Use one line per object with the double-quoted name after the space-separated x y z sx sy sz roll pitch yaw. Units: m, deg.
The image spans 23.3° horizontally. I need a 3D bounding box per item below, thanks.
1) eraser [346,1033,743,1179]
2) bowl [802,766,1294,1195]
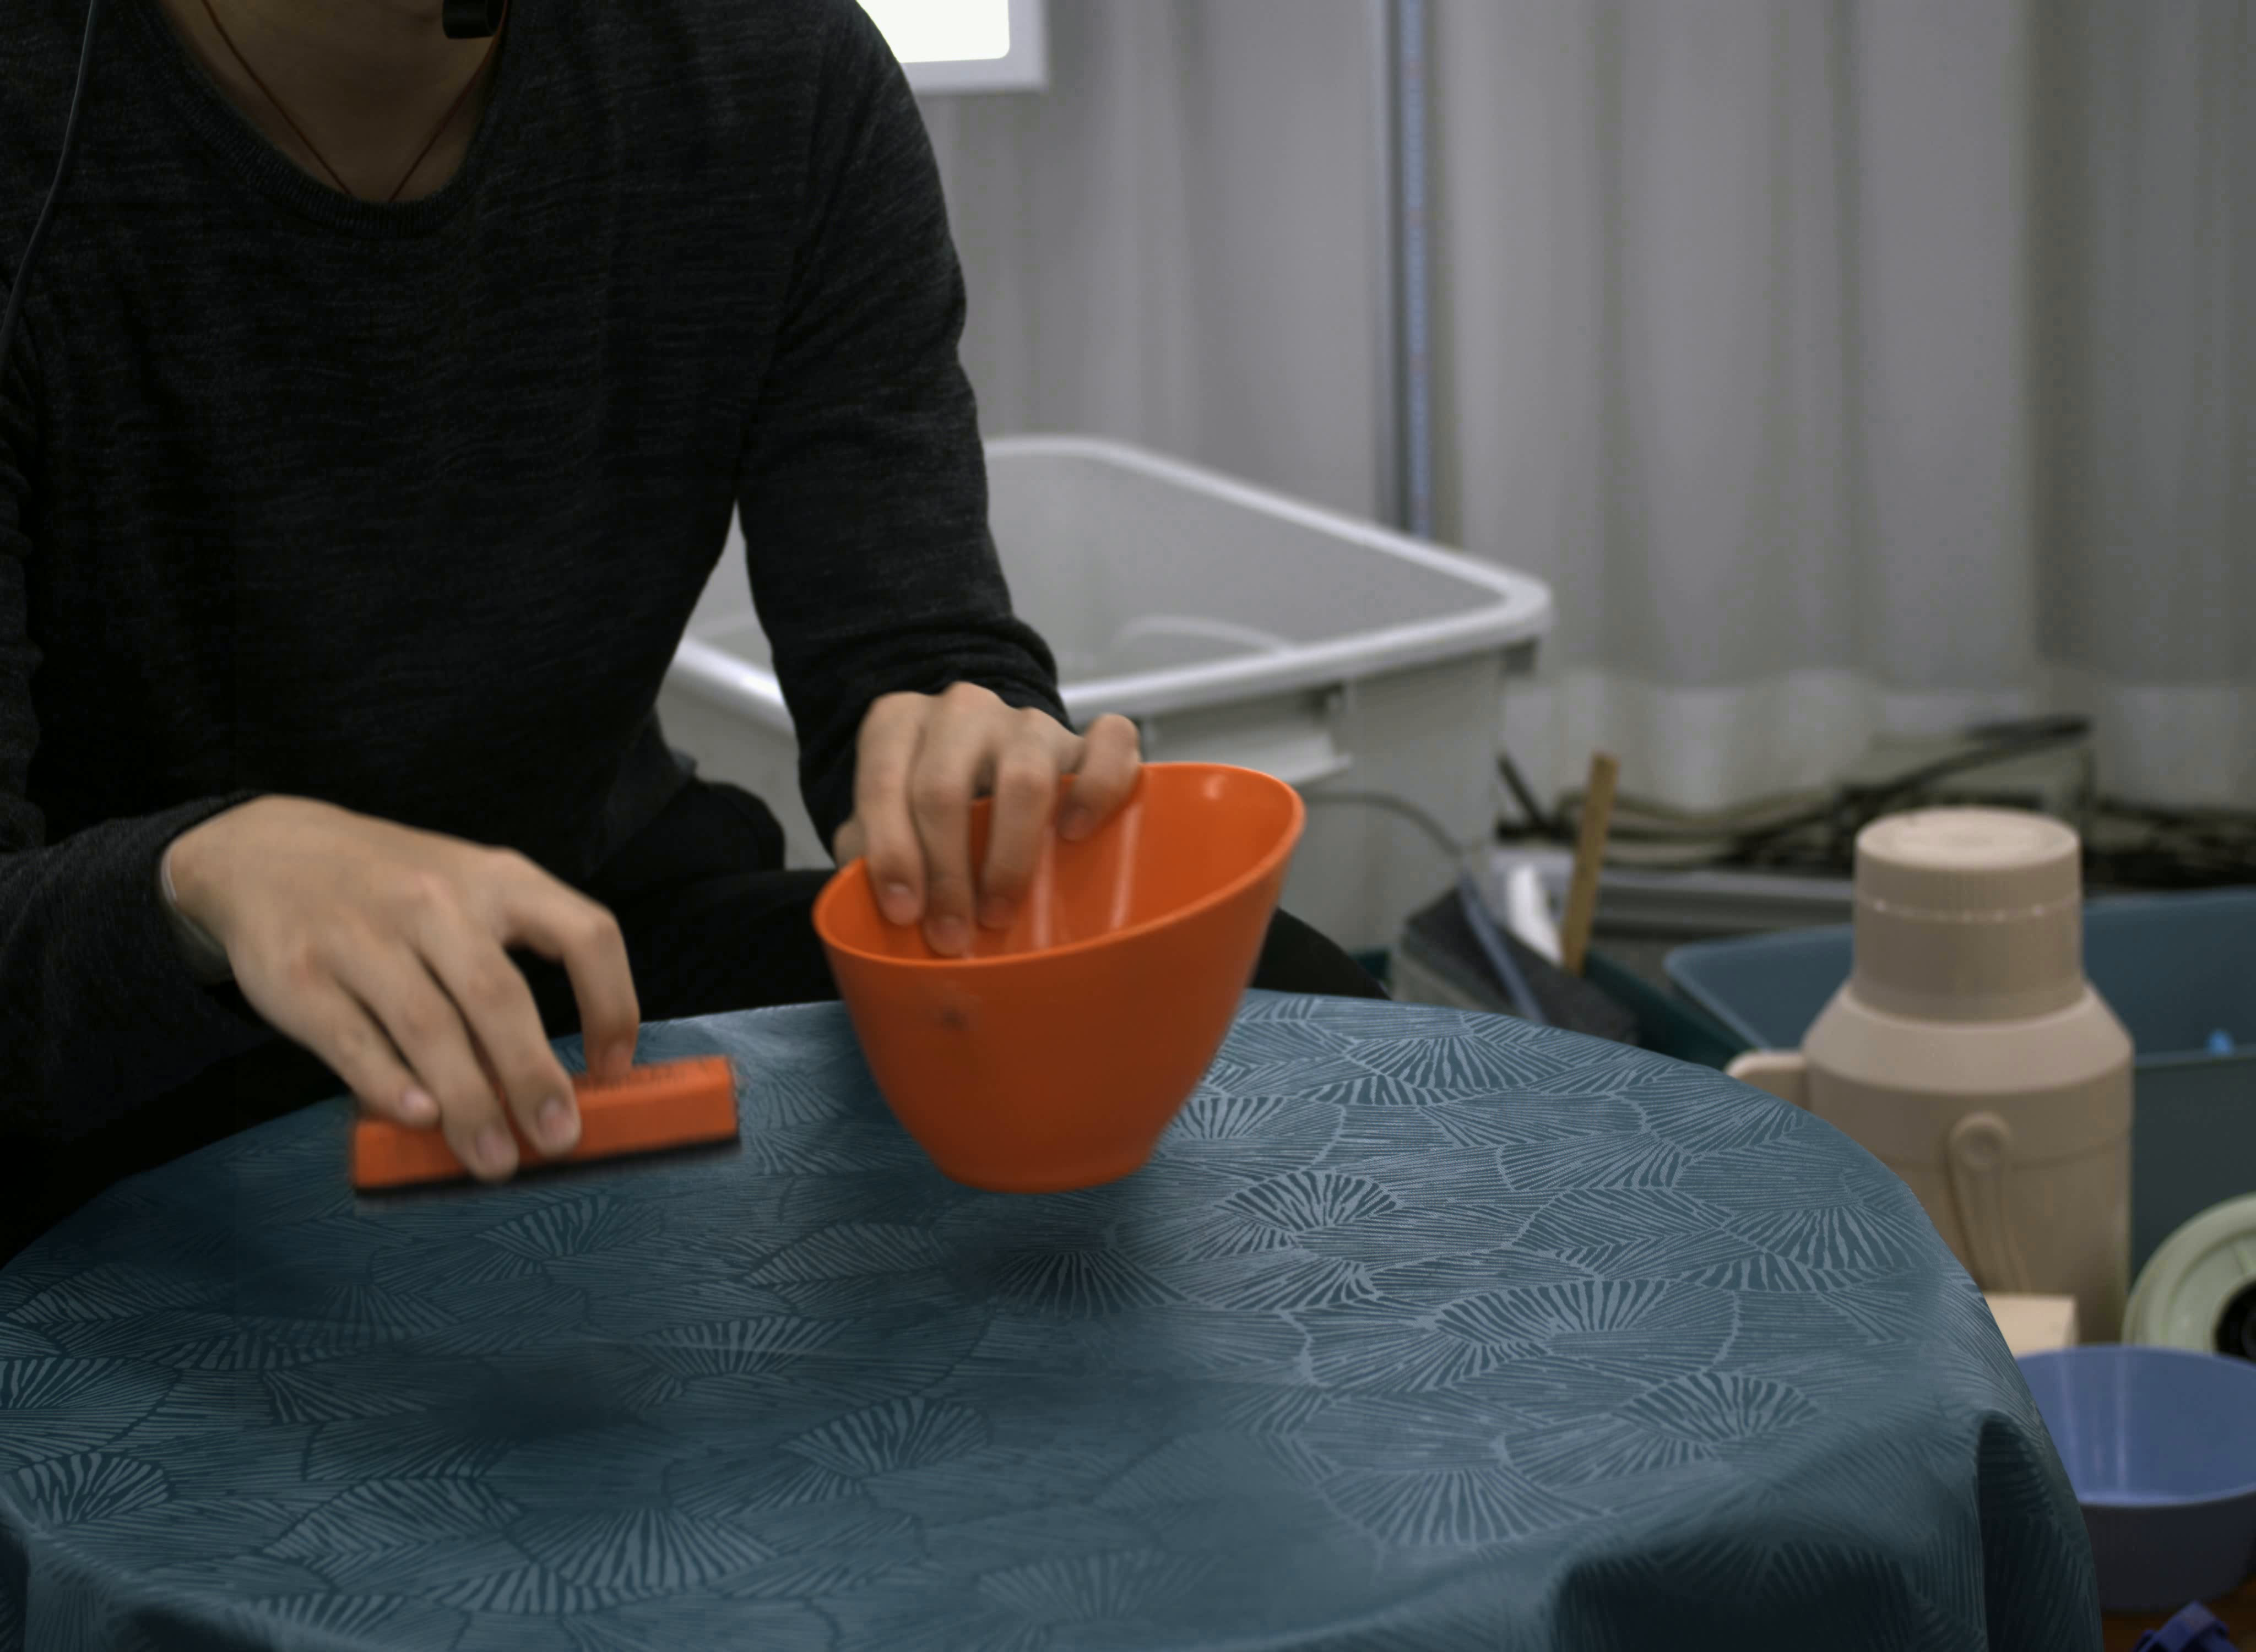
-0.163 0.078 1.532 0.107 0.023 0.059 -7 7 -9 "eraser"
-0.022 0.049 1.633 0.147 0.104 0.149 -3 16 0 "bowl"
